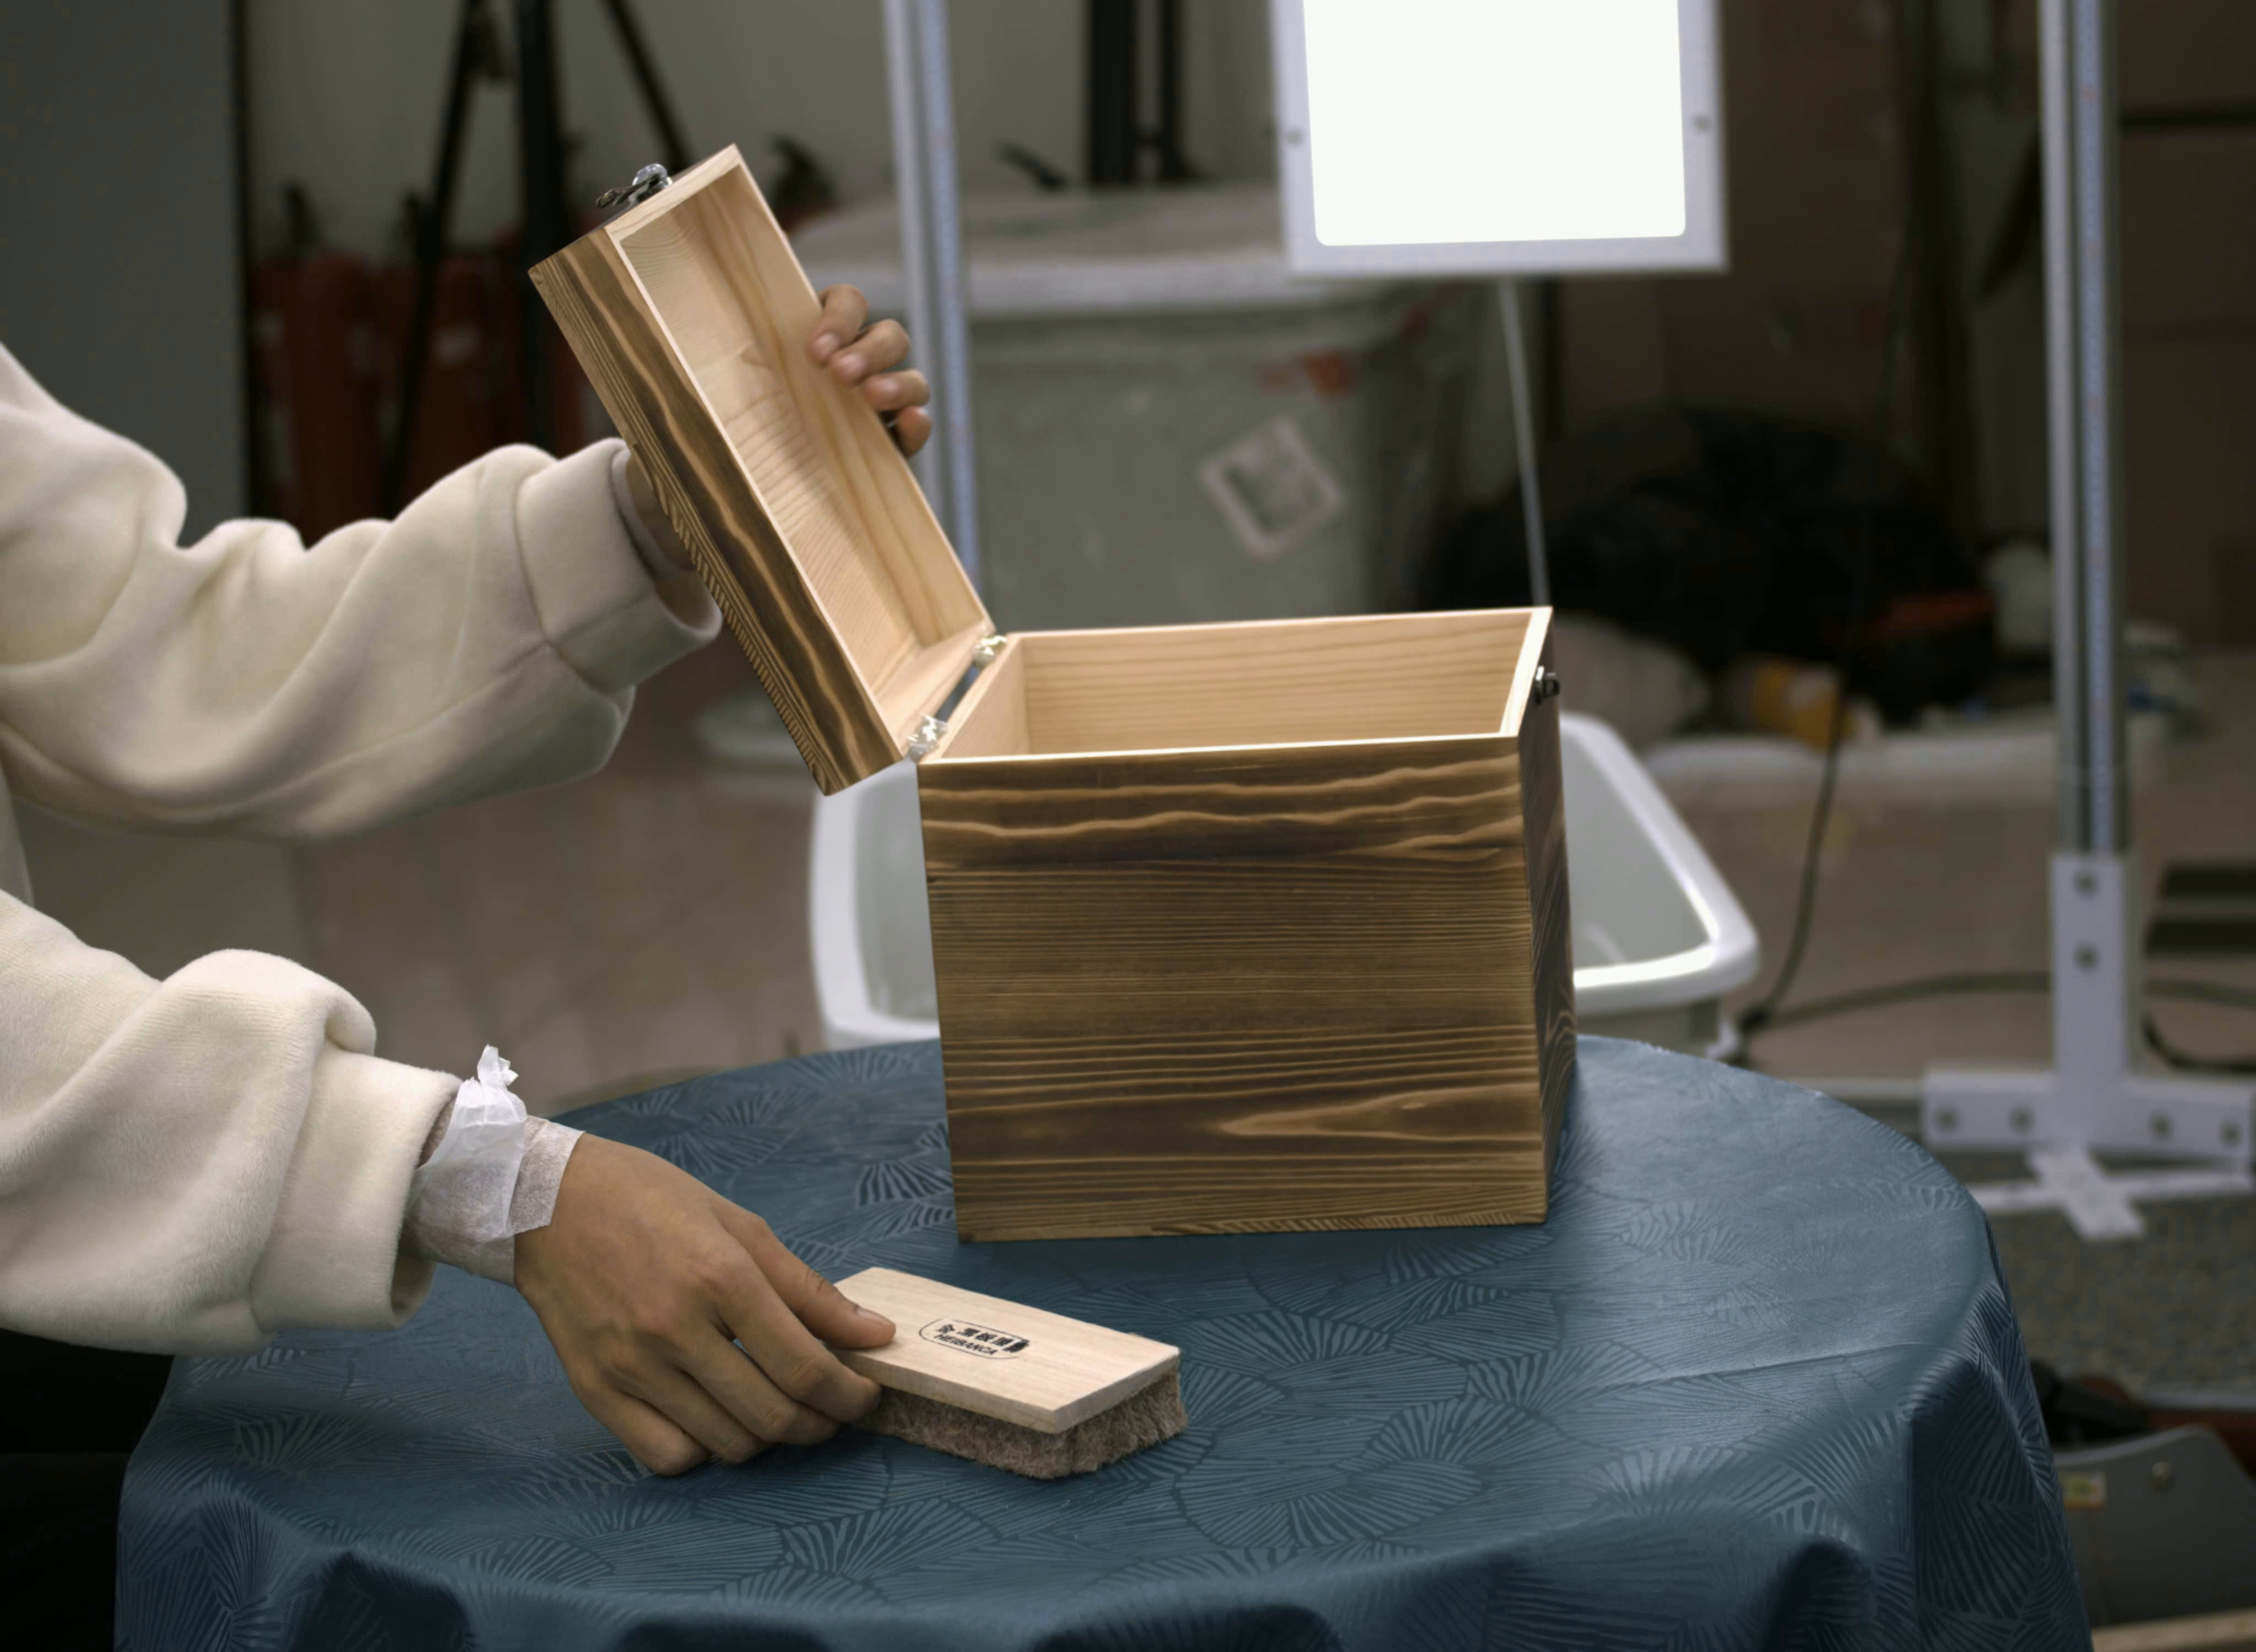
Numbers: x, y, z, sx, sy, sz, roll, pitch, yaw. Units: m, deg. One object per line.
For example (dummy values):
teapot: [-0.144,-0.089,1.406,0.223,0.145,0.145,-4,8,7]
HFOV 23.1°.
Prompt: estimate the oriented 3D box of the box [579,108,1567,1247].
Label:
box: [-0.010,-0.060,1.899,0.324,0.377,0.207,-2,15,9]

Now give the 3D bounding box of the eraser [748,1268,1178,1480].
eraser: [-0.051,0.168,1.687,0.055,0.029,0.142,-20,19,-39]
